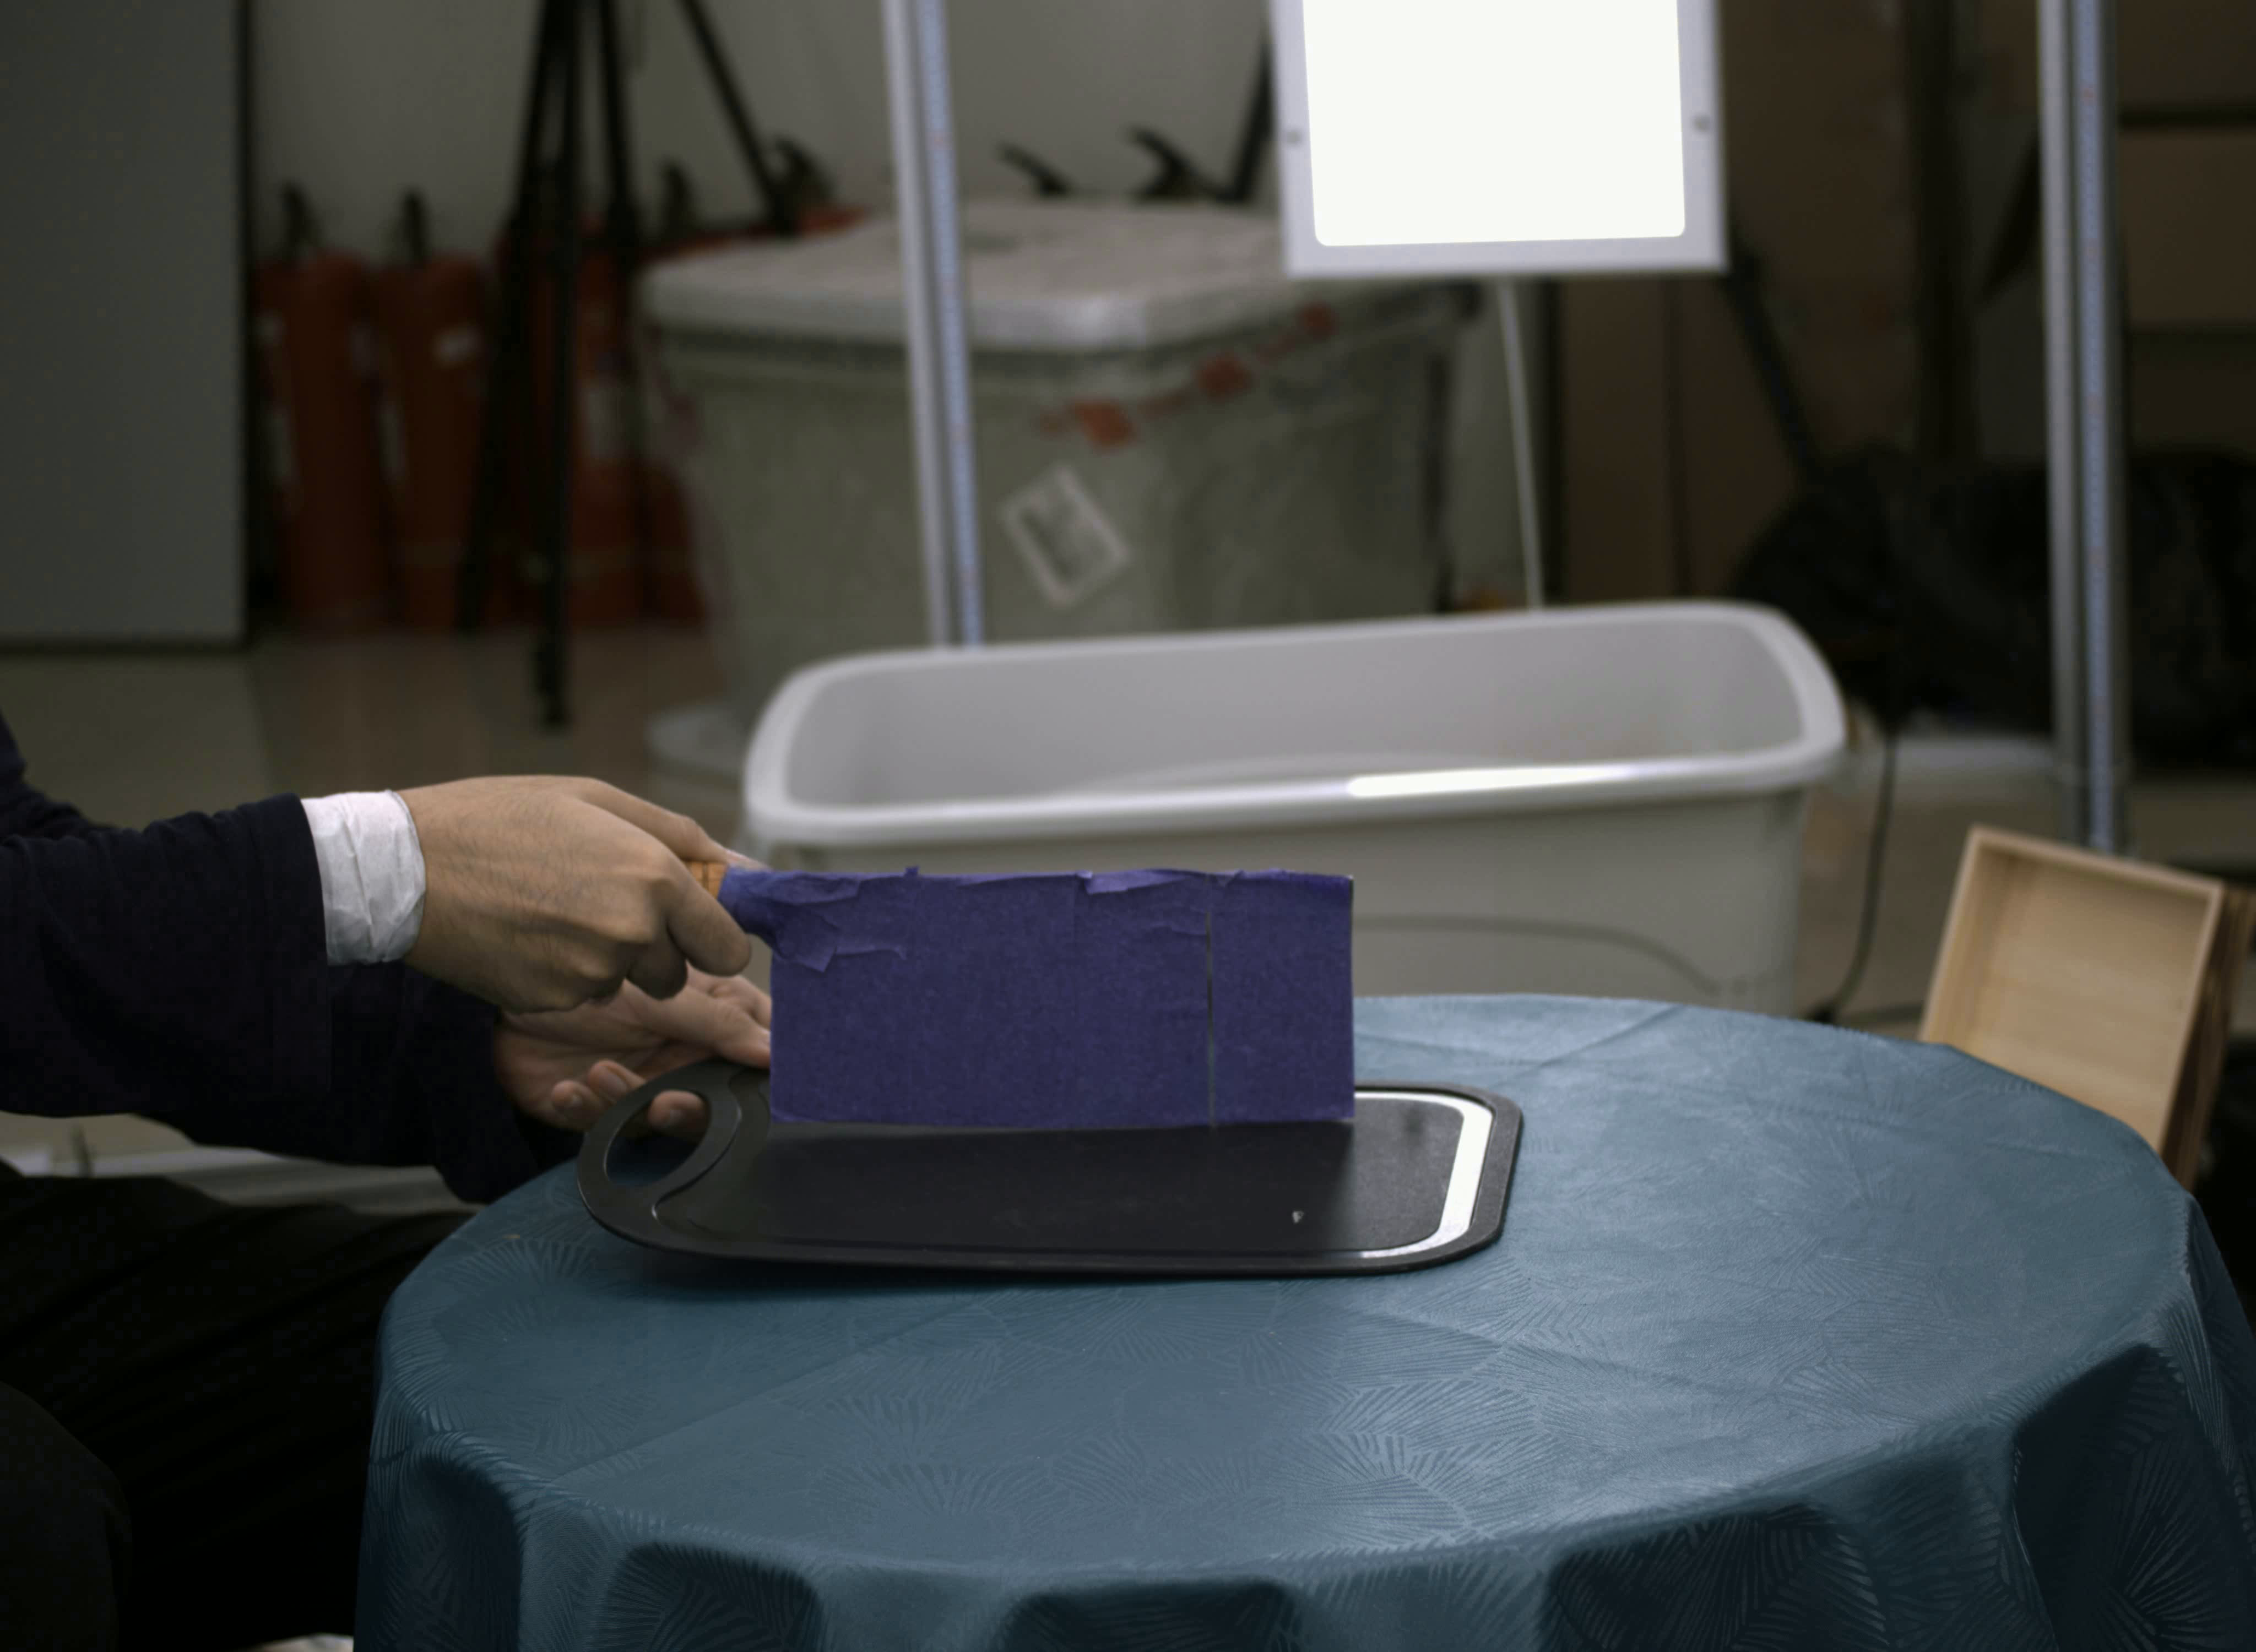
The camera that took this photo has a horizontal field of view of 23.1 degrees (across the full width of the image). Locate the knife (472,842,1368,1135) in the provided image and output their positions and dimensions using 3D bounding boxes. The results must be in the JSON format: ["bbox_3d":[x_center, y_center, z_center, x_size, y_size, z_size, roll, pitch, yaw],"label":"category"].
[{"bbox_3d":[-0.072,0.060,1.931,0.314,0.104,0.032,-1,7,1],"label":"knife"}]

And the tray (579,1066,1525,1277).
[{"bbox_3d":[-0.028,0.115,1.909,0.327,0.010,0.209,1,15,10],"label":"tray"}]
